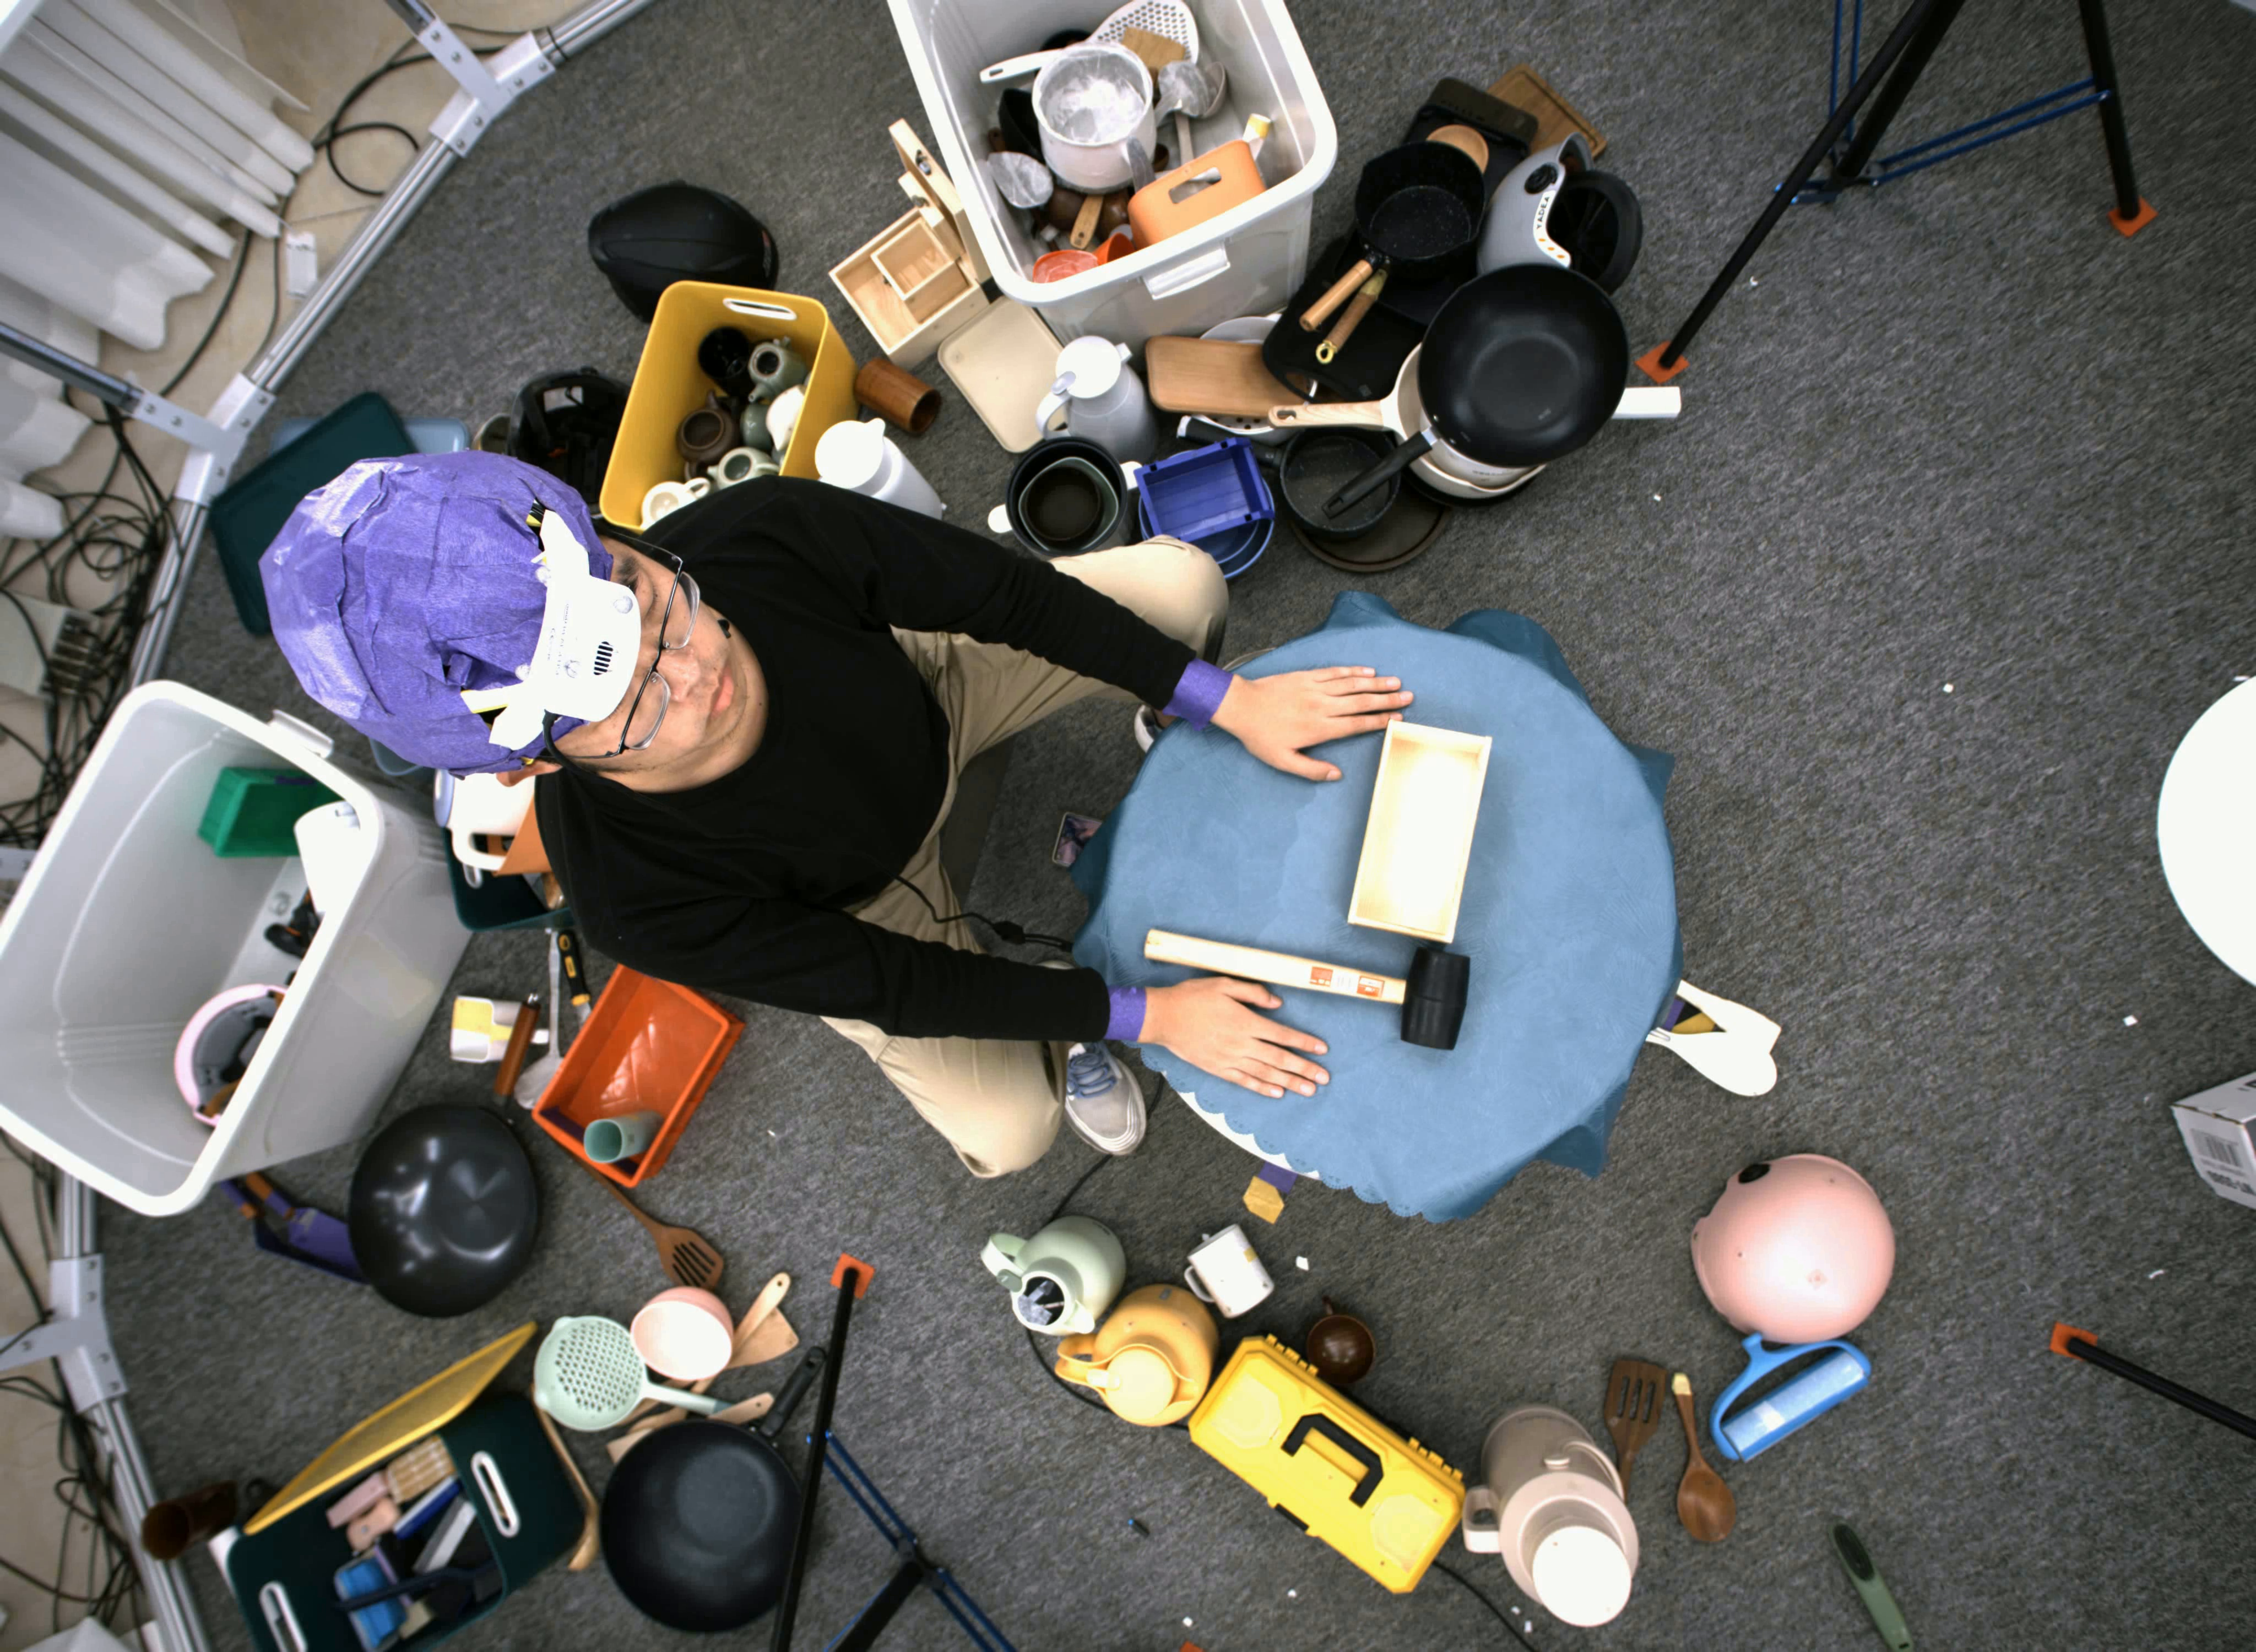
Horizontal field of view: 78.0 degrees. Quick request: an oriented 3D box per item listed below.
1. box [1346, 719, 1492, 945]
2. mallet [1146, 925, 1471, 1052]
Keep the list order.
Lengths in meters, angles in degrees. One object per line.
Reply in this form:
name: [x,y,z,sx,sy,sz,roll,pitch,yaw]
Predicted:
box: [0.299,0.006,1.418,0.108,0.080,0.211,12,89,12]
mallet: [0.182,0.151,1.444,0.339,0.064,0.101,11,87,12]
